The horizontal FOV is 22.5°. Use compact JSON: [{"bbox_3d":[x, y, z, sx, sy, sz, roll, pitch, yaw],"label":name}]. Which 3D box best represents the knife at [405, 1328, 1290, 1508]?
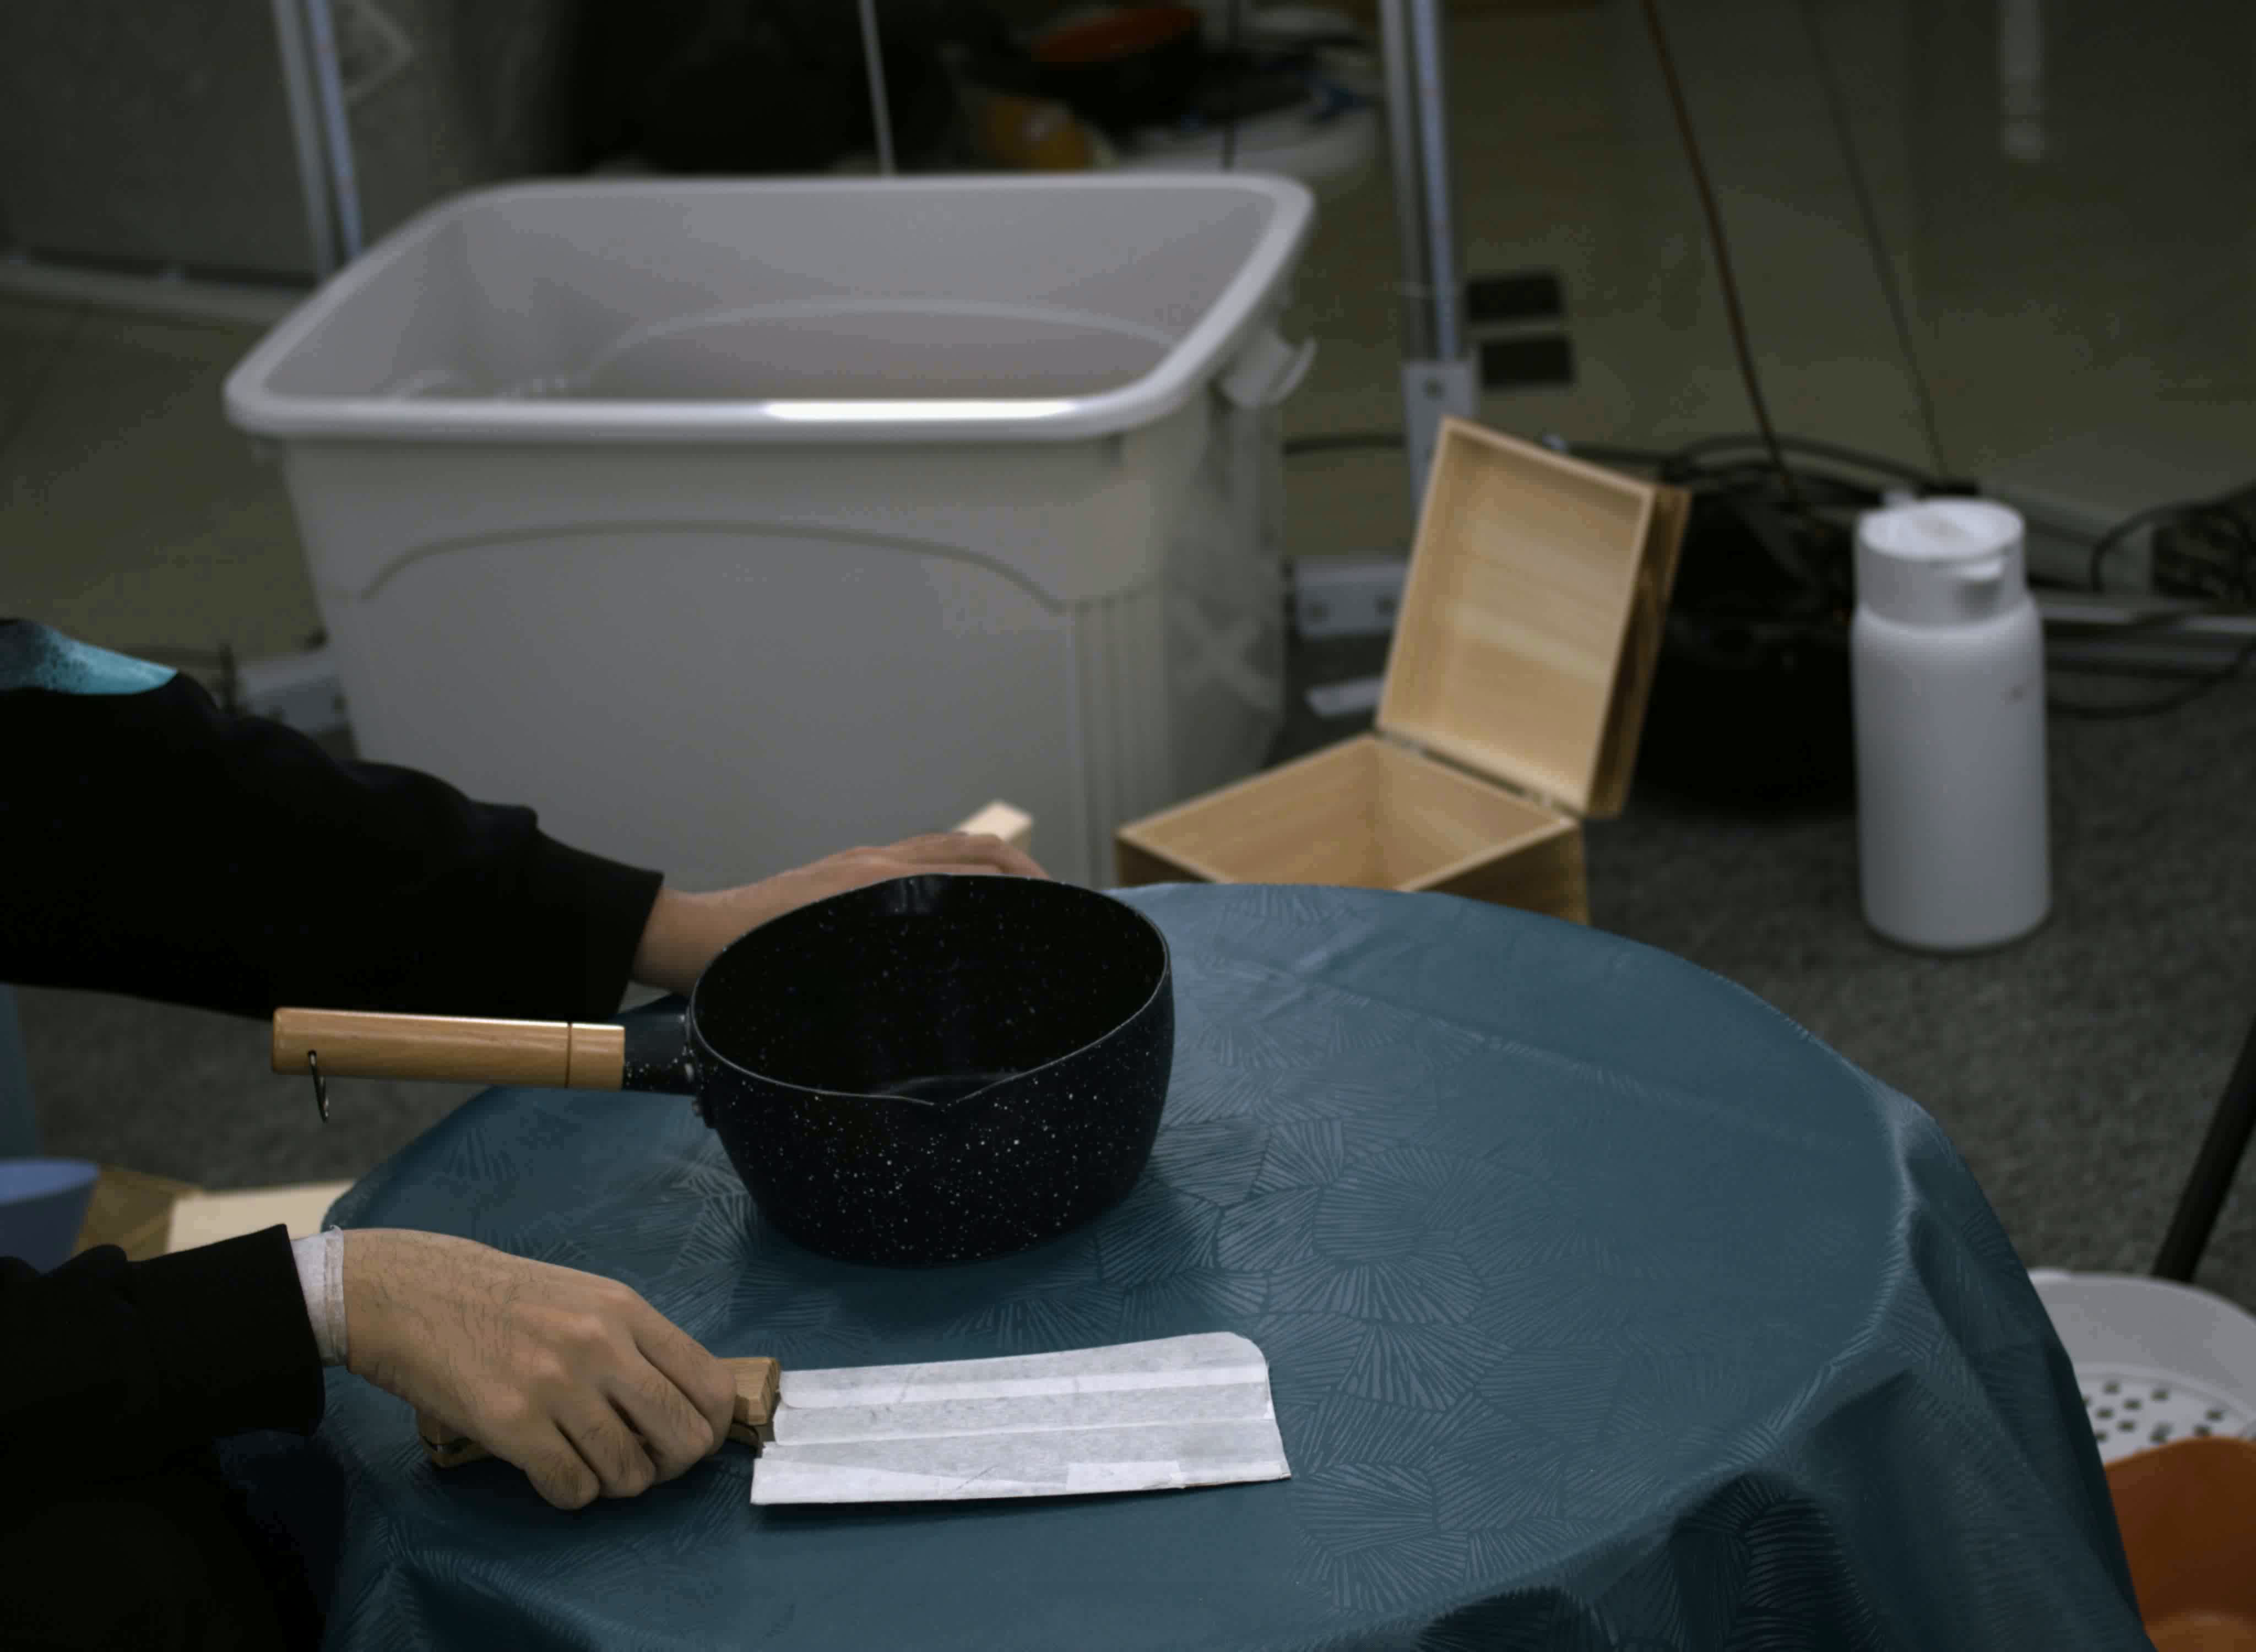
[{"bbox_3d":[-0.099,0.209,2.000,0.315,0.022,0.112,-2,26,4],"label":"knife"}]

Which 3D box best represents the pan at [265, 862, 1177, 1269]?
[{"bbox_3d":[-0.150,0.096,2.144,0.342,0.110,0.204,-8,26,-5],"label":"pan"}]
